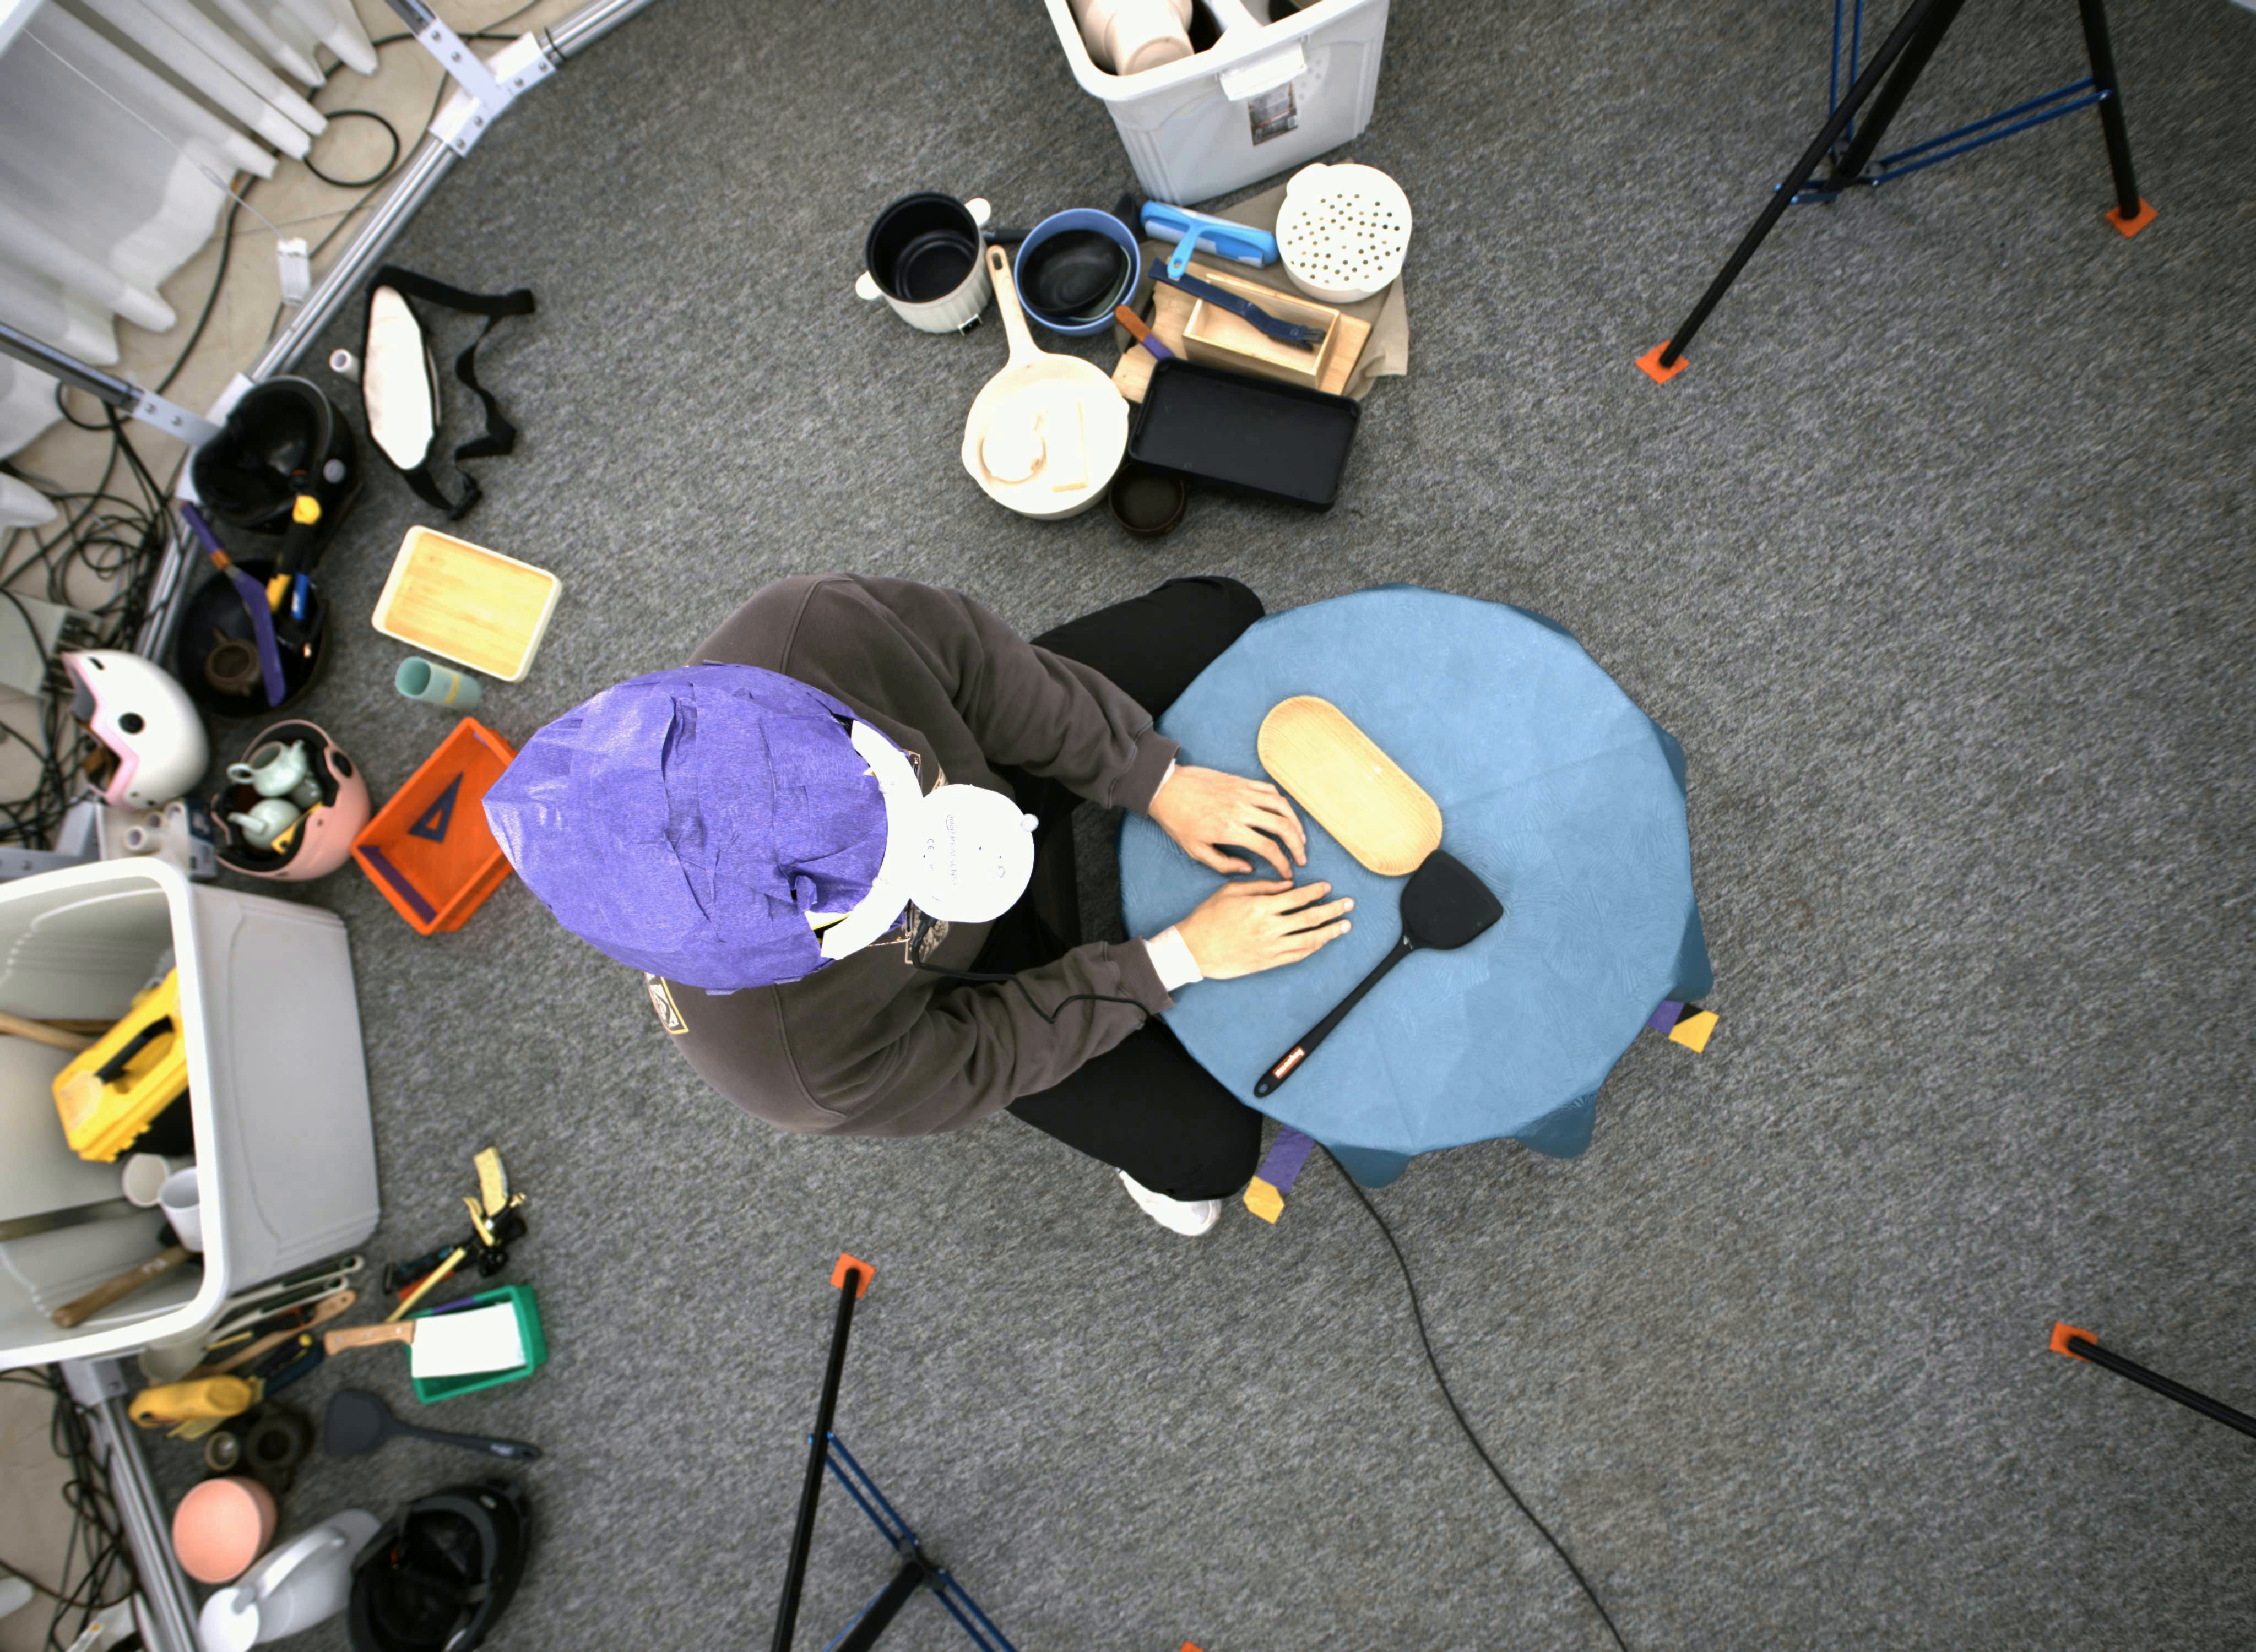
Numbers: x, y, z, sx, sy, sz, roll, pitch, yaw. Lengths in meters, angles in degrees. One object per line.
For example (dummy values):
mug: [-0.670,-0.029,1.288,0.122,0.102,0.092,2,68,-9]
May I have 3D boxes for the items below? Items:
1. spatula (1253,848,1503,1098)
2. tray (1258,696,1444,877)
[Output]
spatula: [0.245,0.166,1.439,0.327,0.040,0.099,-46,79,5]
tray: [0.235,-0.044,1.461,0.230,0.020,0.102,45,96,8]
